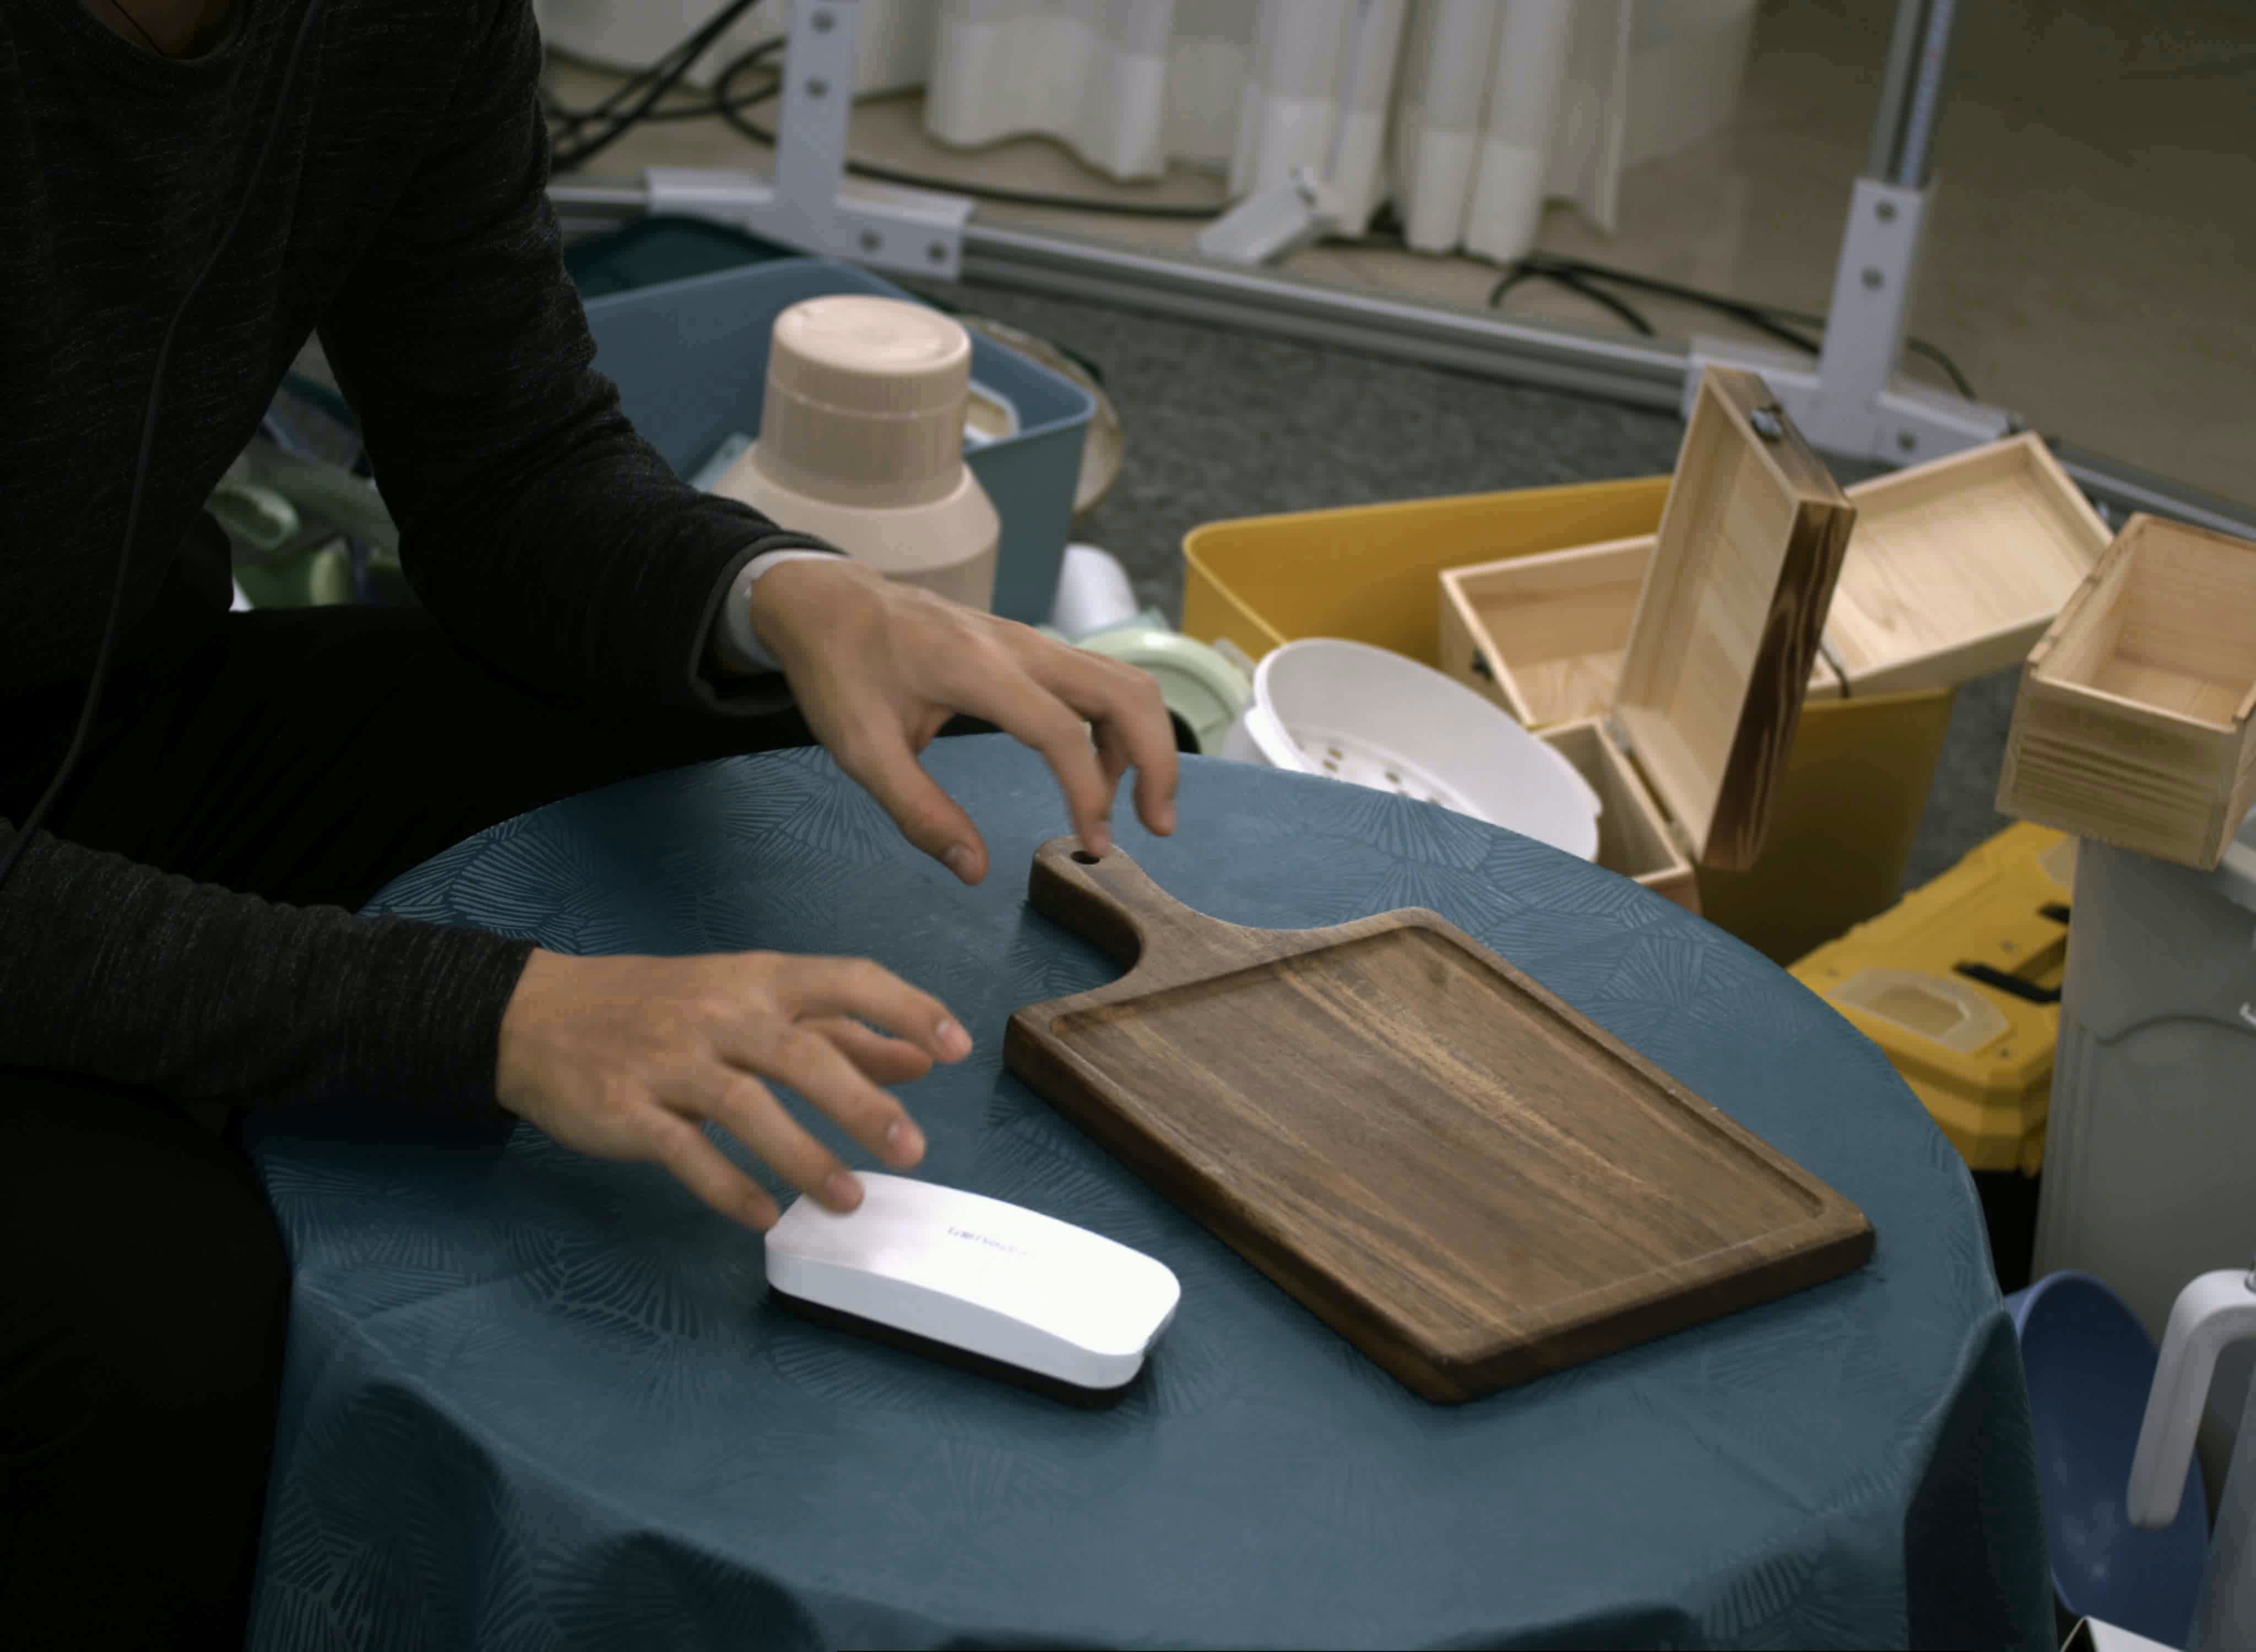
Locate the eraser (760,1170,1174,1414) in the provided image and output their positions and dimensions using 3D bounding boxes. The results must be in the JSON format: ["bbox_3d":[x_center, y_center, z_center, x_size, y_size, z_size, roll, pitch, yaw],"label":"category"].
[{"bbox_3d":[-0.052,0.147,1.712,0.131,0.034,0.063,17,30,18],"label":"eraser"}]

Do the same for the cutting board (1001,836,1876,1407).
[{"bbox_3d":[0.075,0.086,1.868,0.200,0.023,0.355,-14,33,-35],"label":"cutting board"}]
